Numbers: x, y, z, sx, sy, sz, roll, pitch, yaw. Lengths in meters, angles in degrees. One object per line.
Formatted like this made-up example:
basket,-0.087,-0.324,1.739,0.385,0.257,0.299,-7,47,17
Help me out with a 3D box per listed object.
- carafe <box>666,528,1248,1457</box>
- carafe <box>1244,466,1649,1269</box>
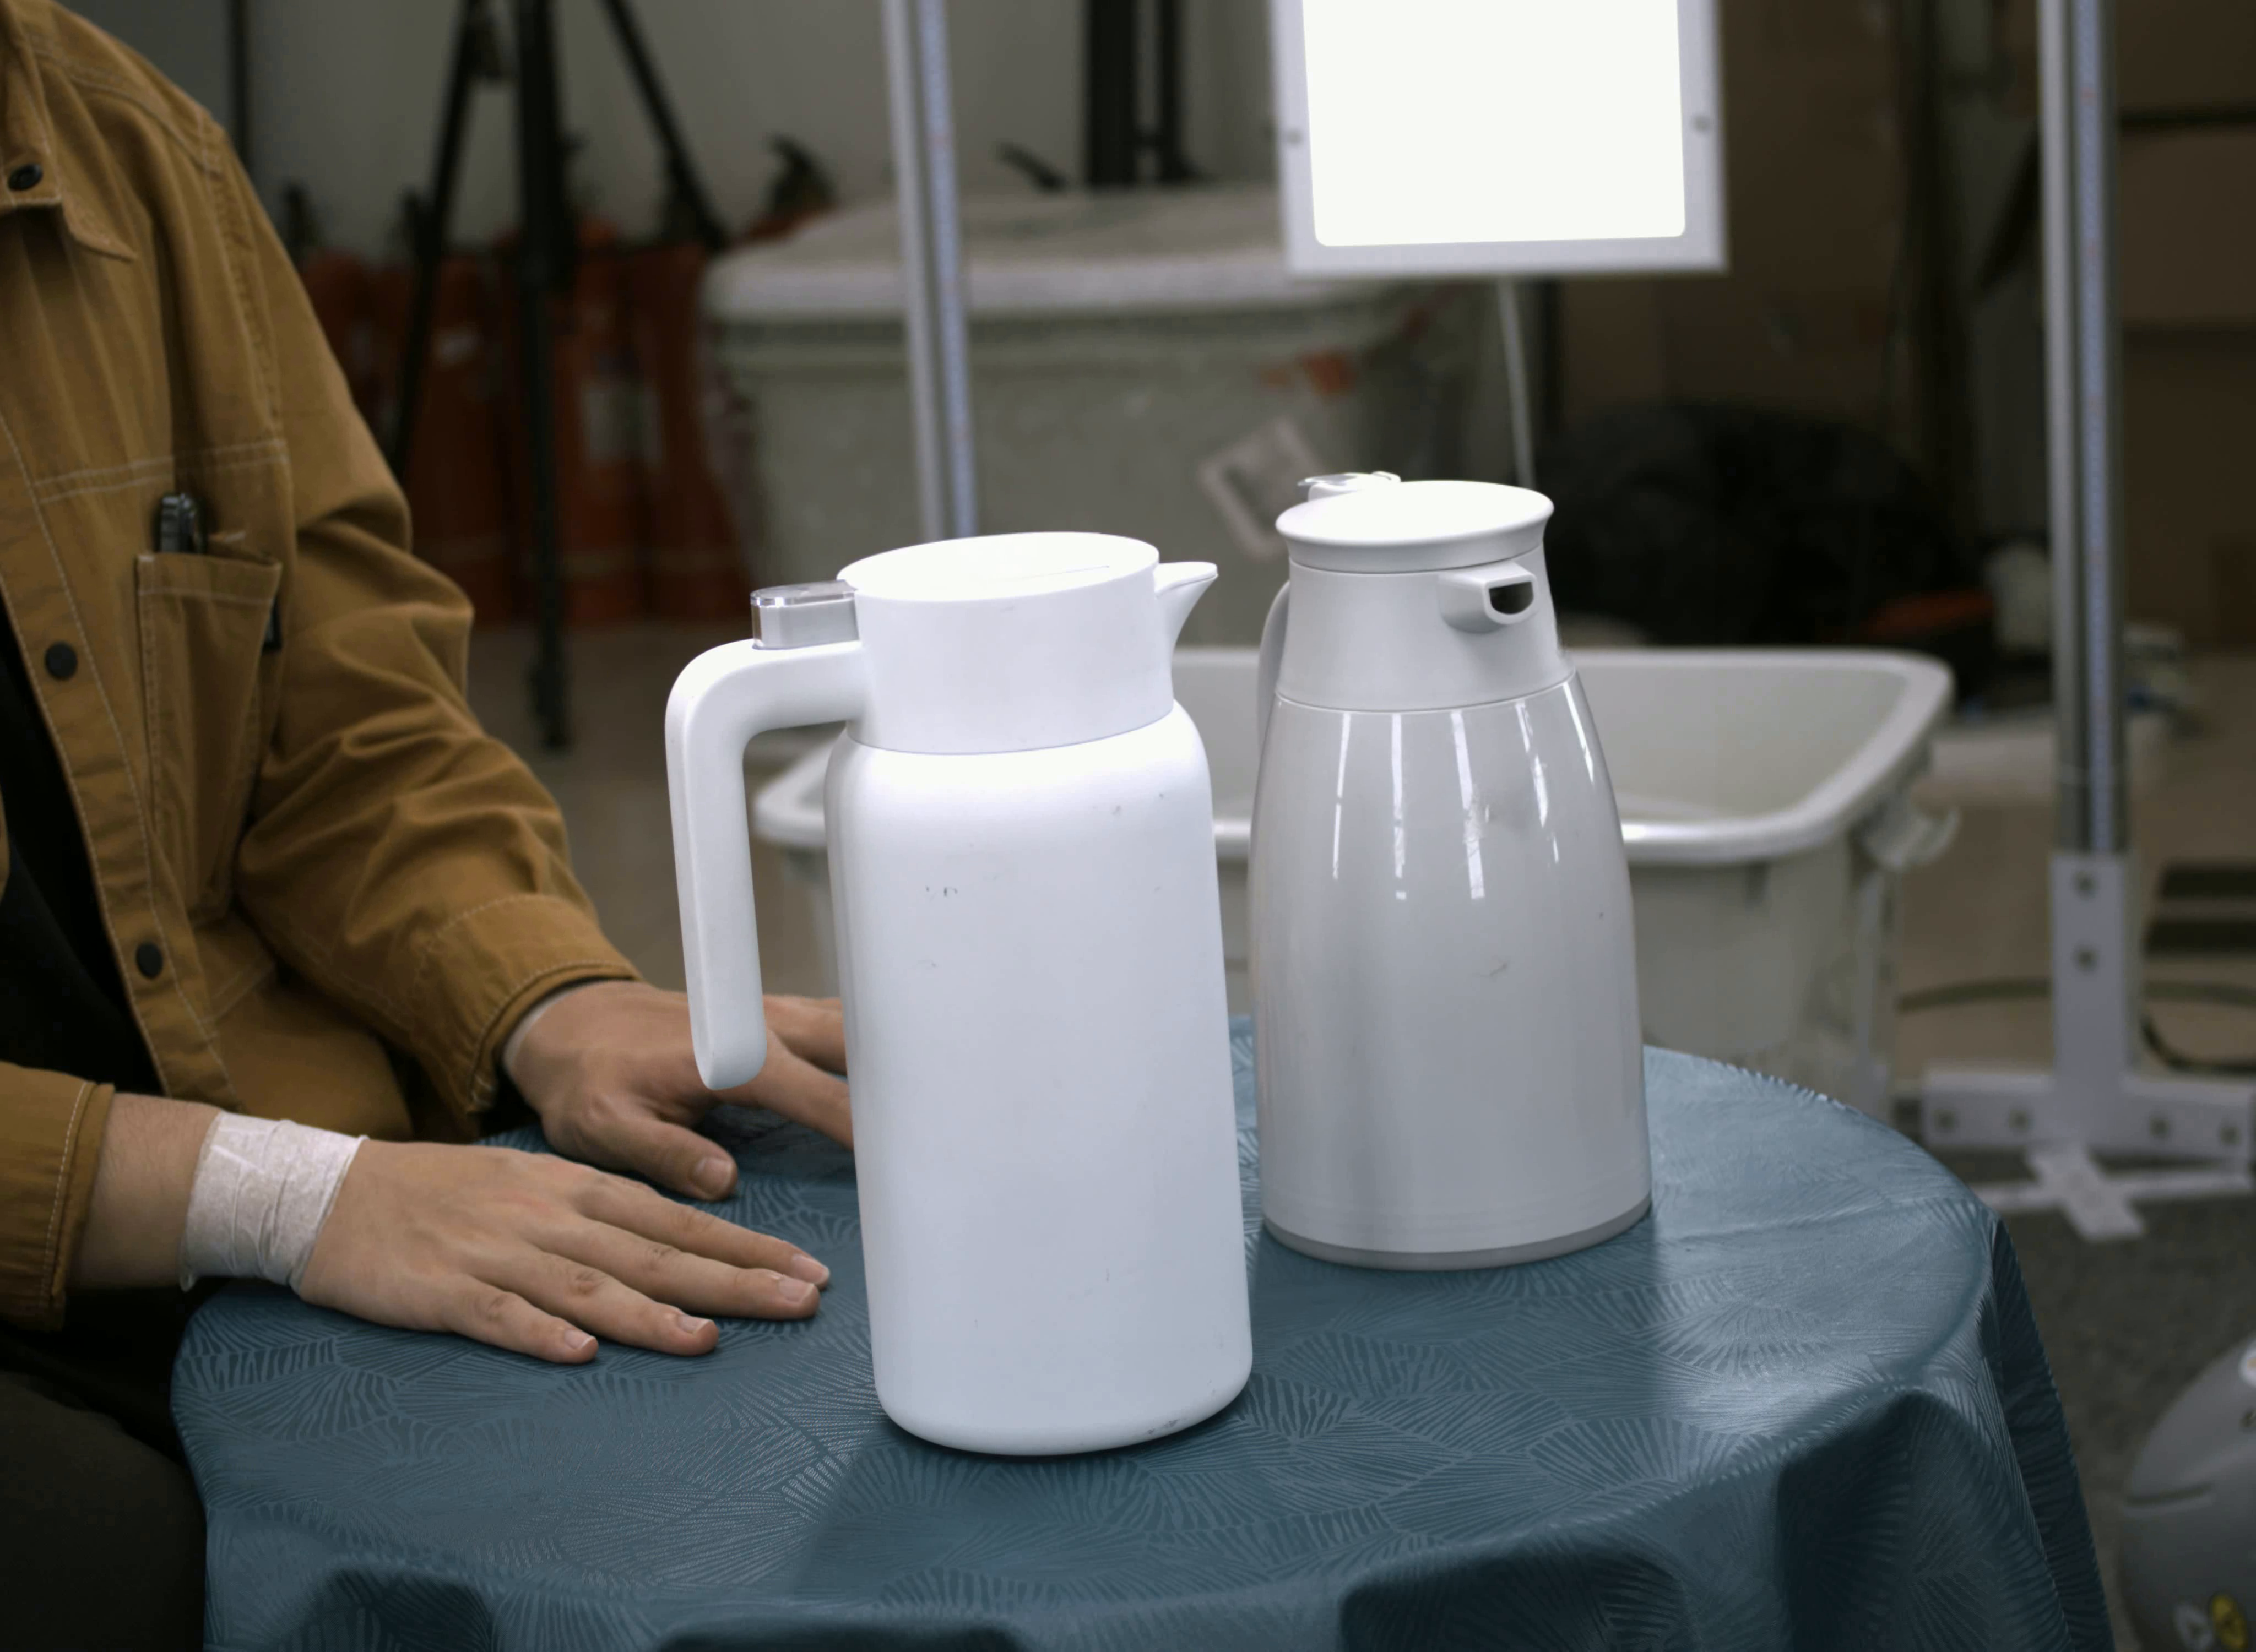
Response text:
carafe,-0.046,0.051,1.661,0.170,0.270,0.125,-8,16,-14
carafe,0.092,0.006,1.835,0.130,0.249,0.170,-11,14,-25
